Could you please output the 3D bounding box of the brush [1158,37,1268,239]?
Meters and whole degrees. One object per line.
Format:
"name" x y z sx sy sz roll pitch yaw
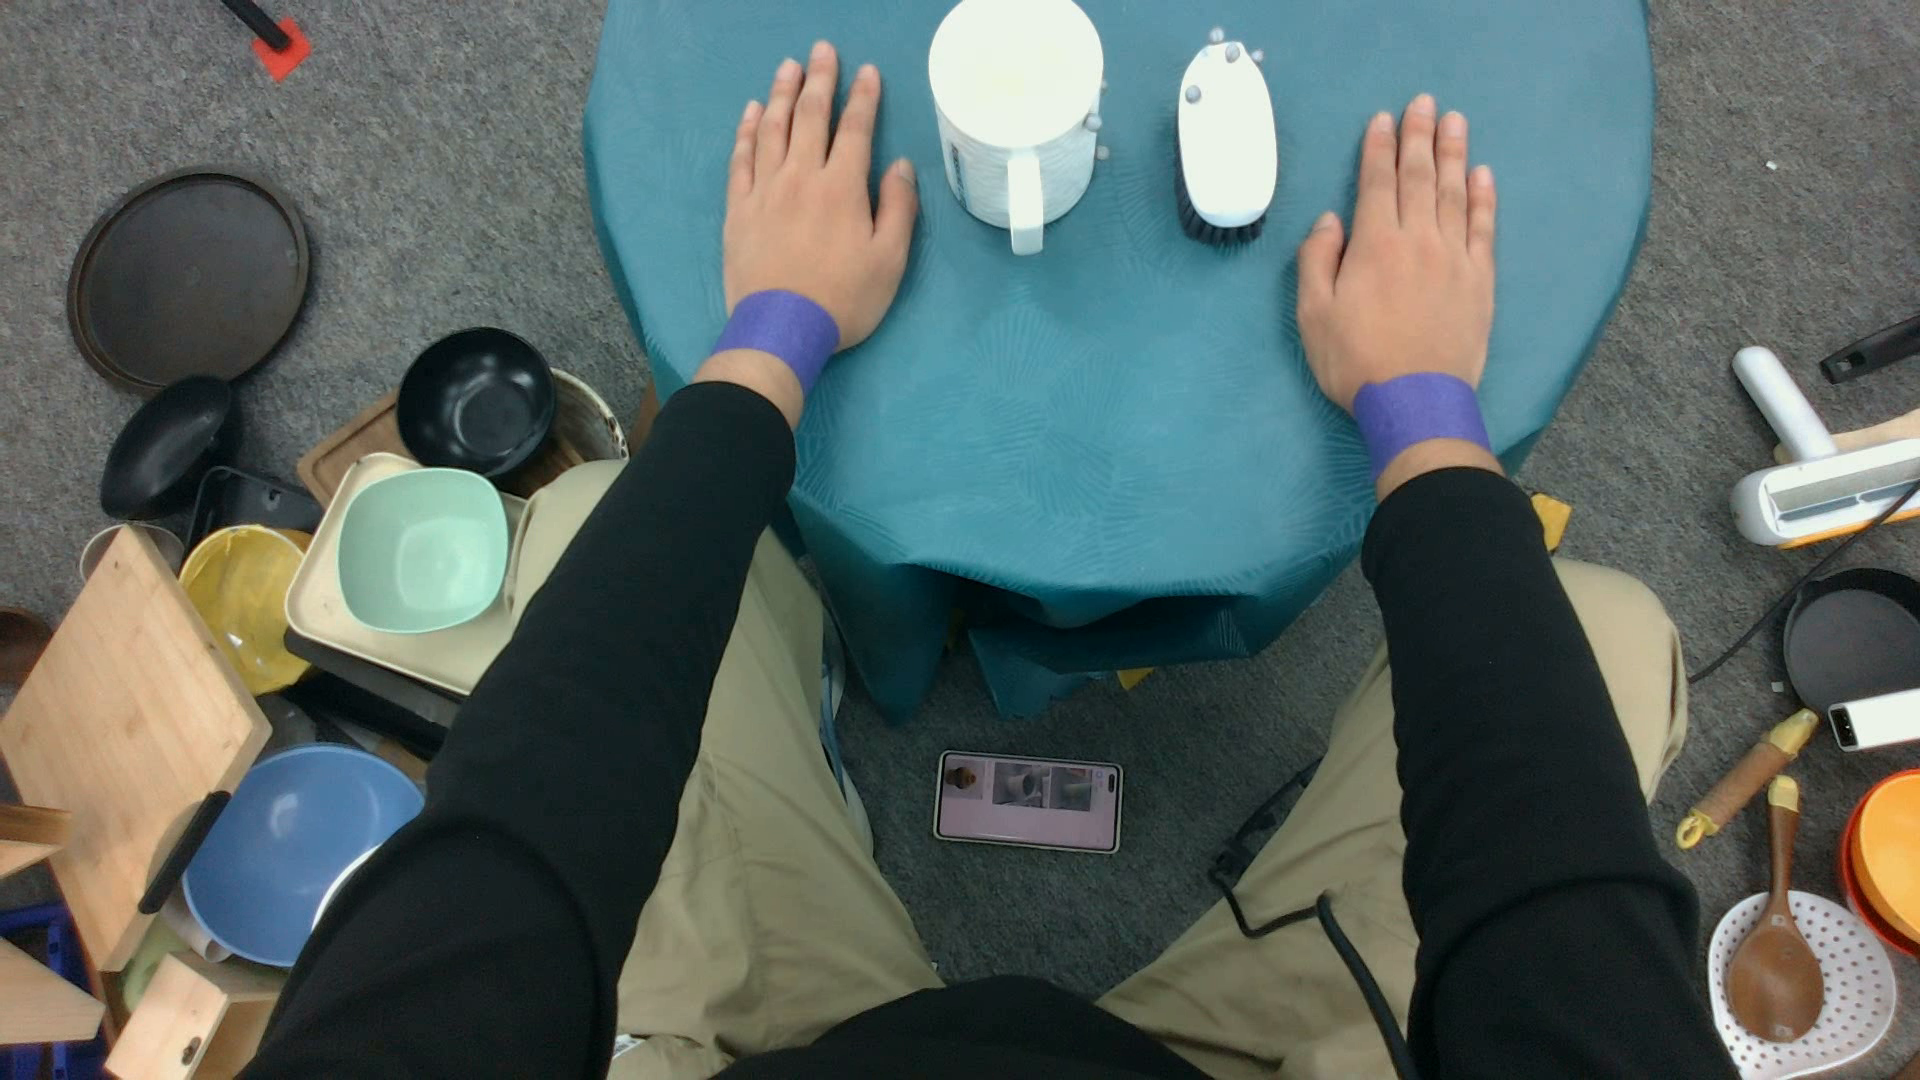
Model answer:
"brush" 0.136 -0.220 0.733 0.050 0.072 0.099 -12 73 4

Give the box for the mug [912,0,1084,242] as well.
"mug" 0.022 -0.213 0.720 0.085 0.102 0.118 -6 77 1
